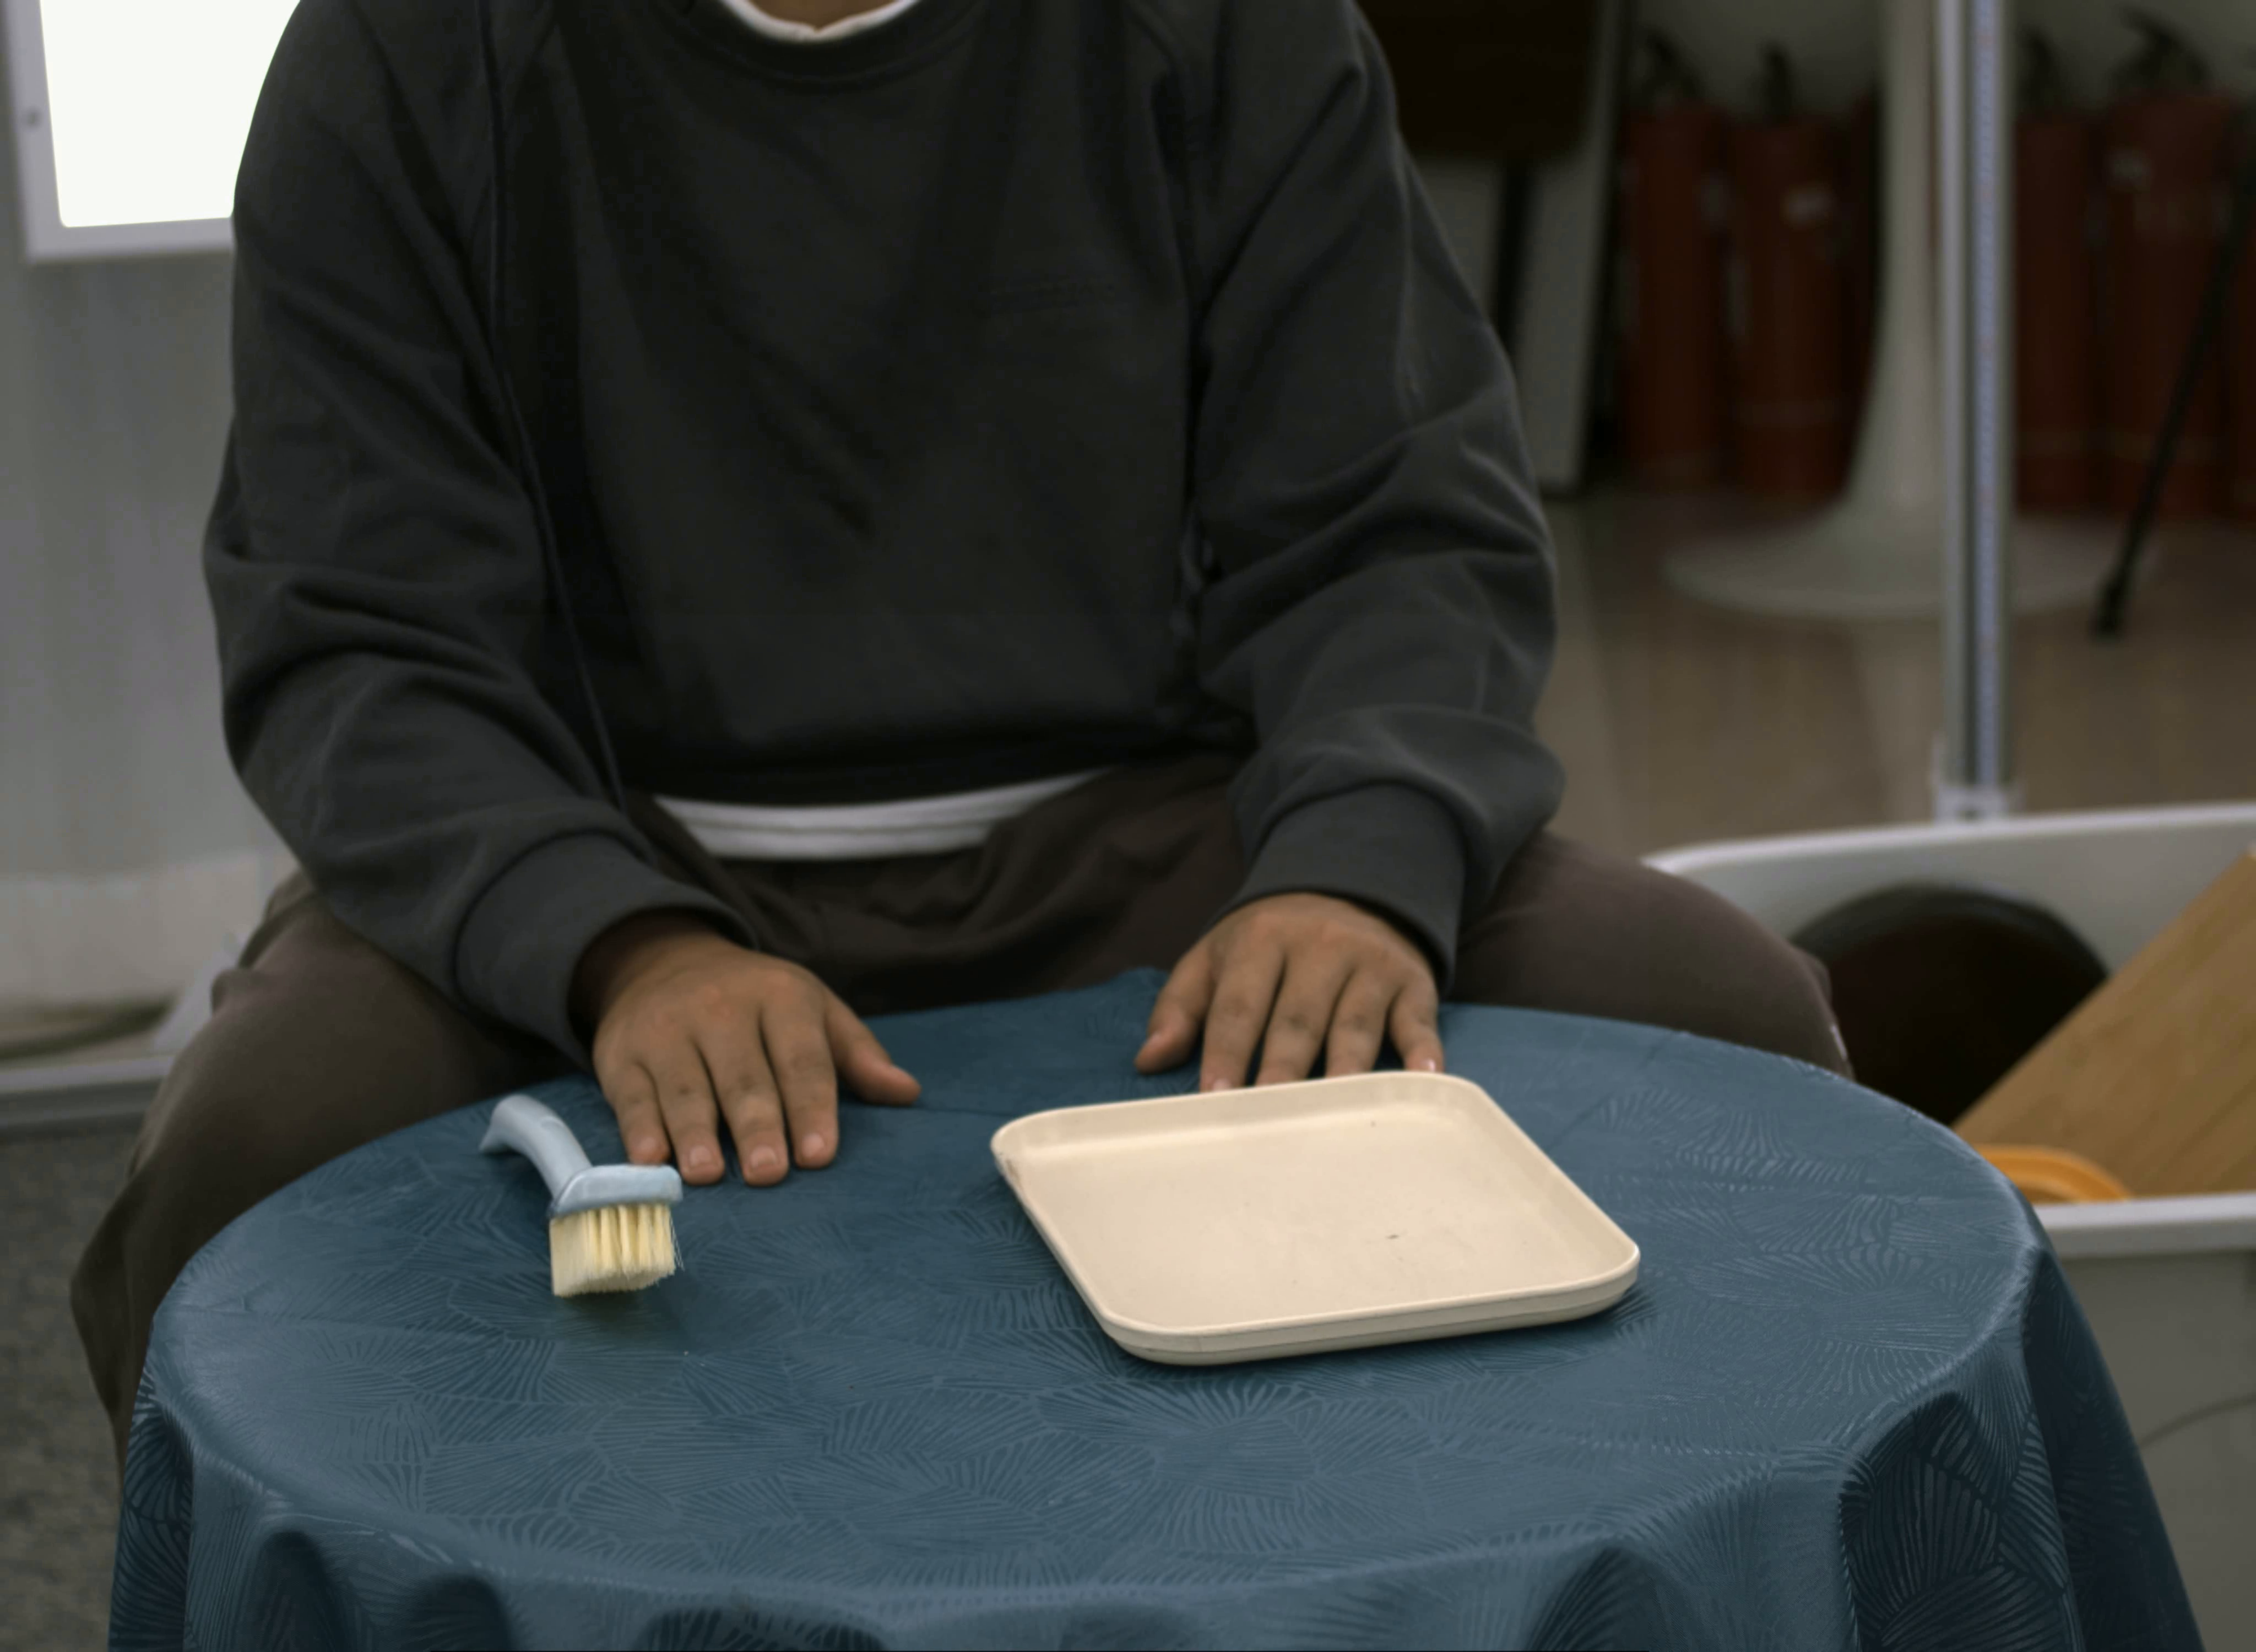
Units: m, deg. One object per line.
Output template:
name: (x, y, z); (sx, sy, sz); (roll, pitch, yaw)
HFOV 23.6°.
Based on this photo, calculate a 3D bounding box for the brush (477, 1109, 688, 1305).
brush: (-0.182, 0.124, 1.752); (0.037, 0.050, 0.230); (-1, 4, -18)

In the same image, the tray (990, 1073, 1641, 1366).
tray: (0.056, 0.124, 1.710); (0.168, 0.017, 0.241); (-6, 14, -10)
